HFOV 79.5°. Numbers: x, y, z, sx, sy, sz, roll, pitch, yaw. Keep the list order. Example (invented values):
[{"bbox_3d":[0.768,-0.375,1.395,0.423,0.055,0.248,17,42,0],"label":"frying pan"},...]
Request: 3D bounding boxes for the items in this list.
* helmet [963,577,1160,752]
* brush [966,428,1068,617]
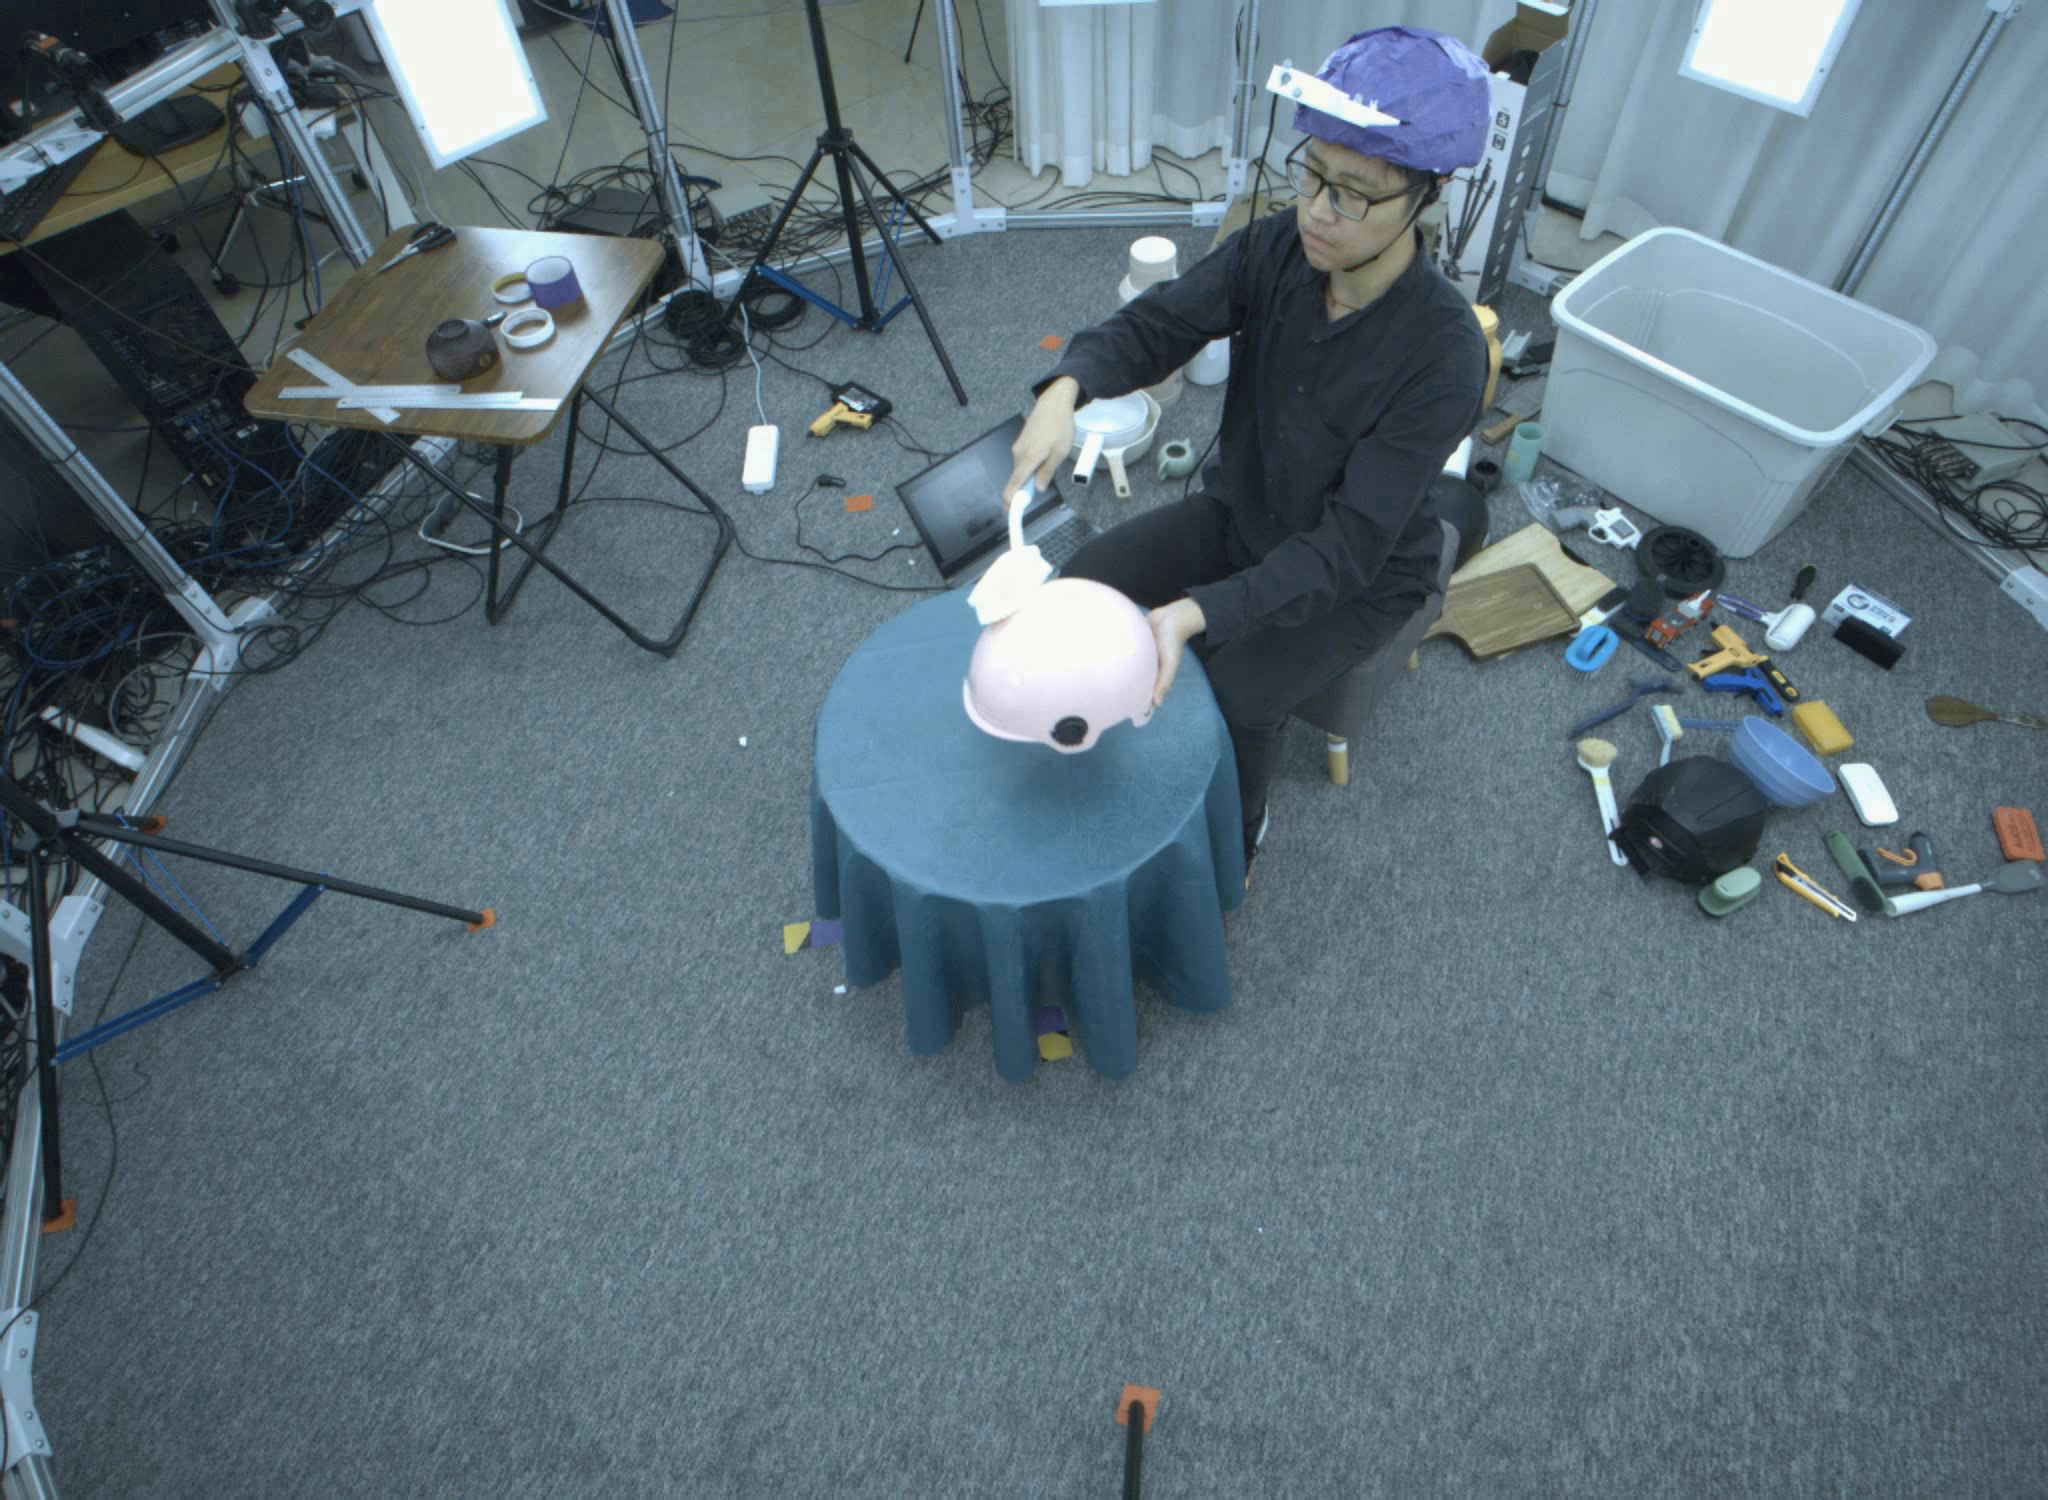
[{"bbox_3d":[0.045,-0.130,1.595,0.268,0.161,0.229,-16,49,-11],"label":"helmet"},{"bbox_3d":[0.013,-0.296,1.621,0.082,0.085,0.325,19,61,9],"label":"brush"}]
